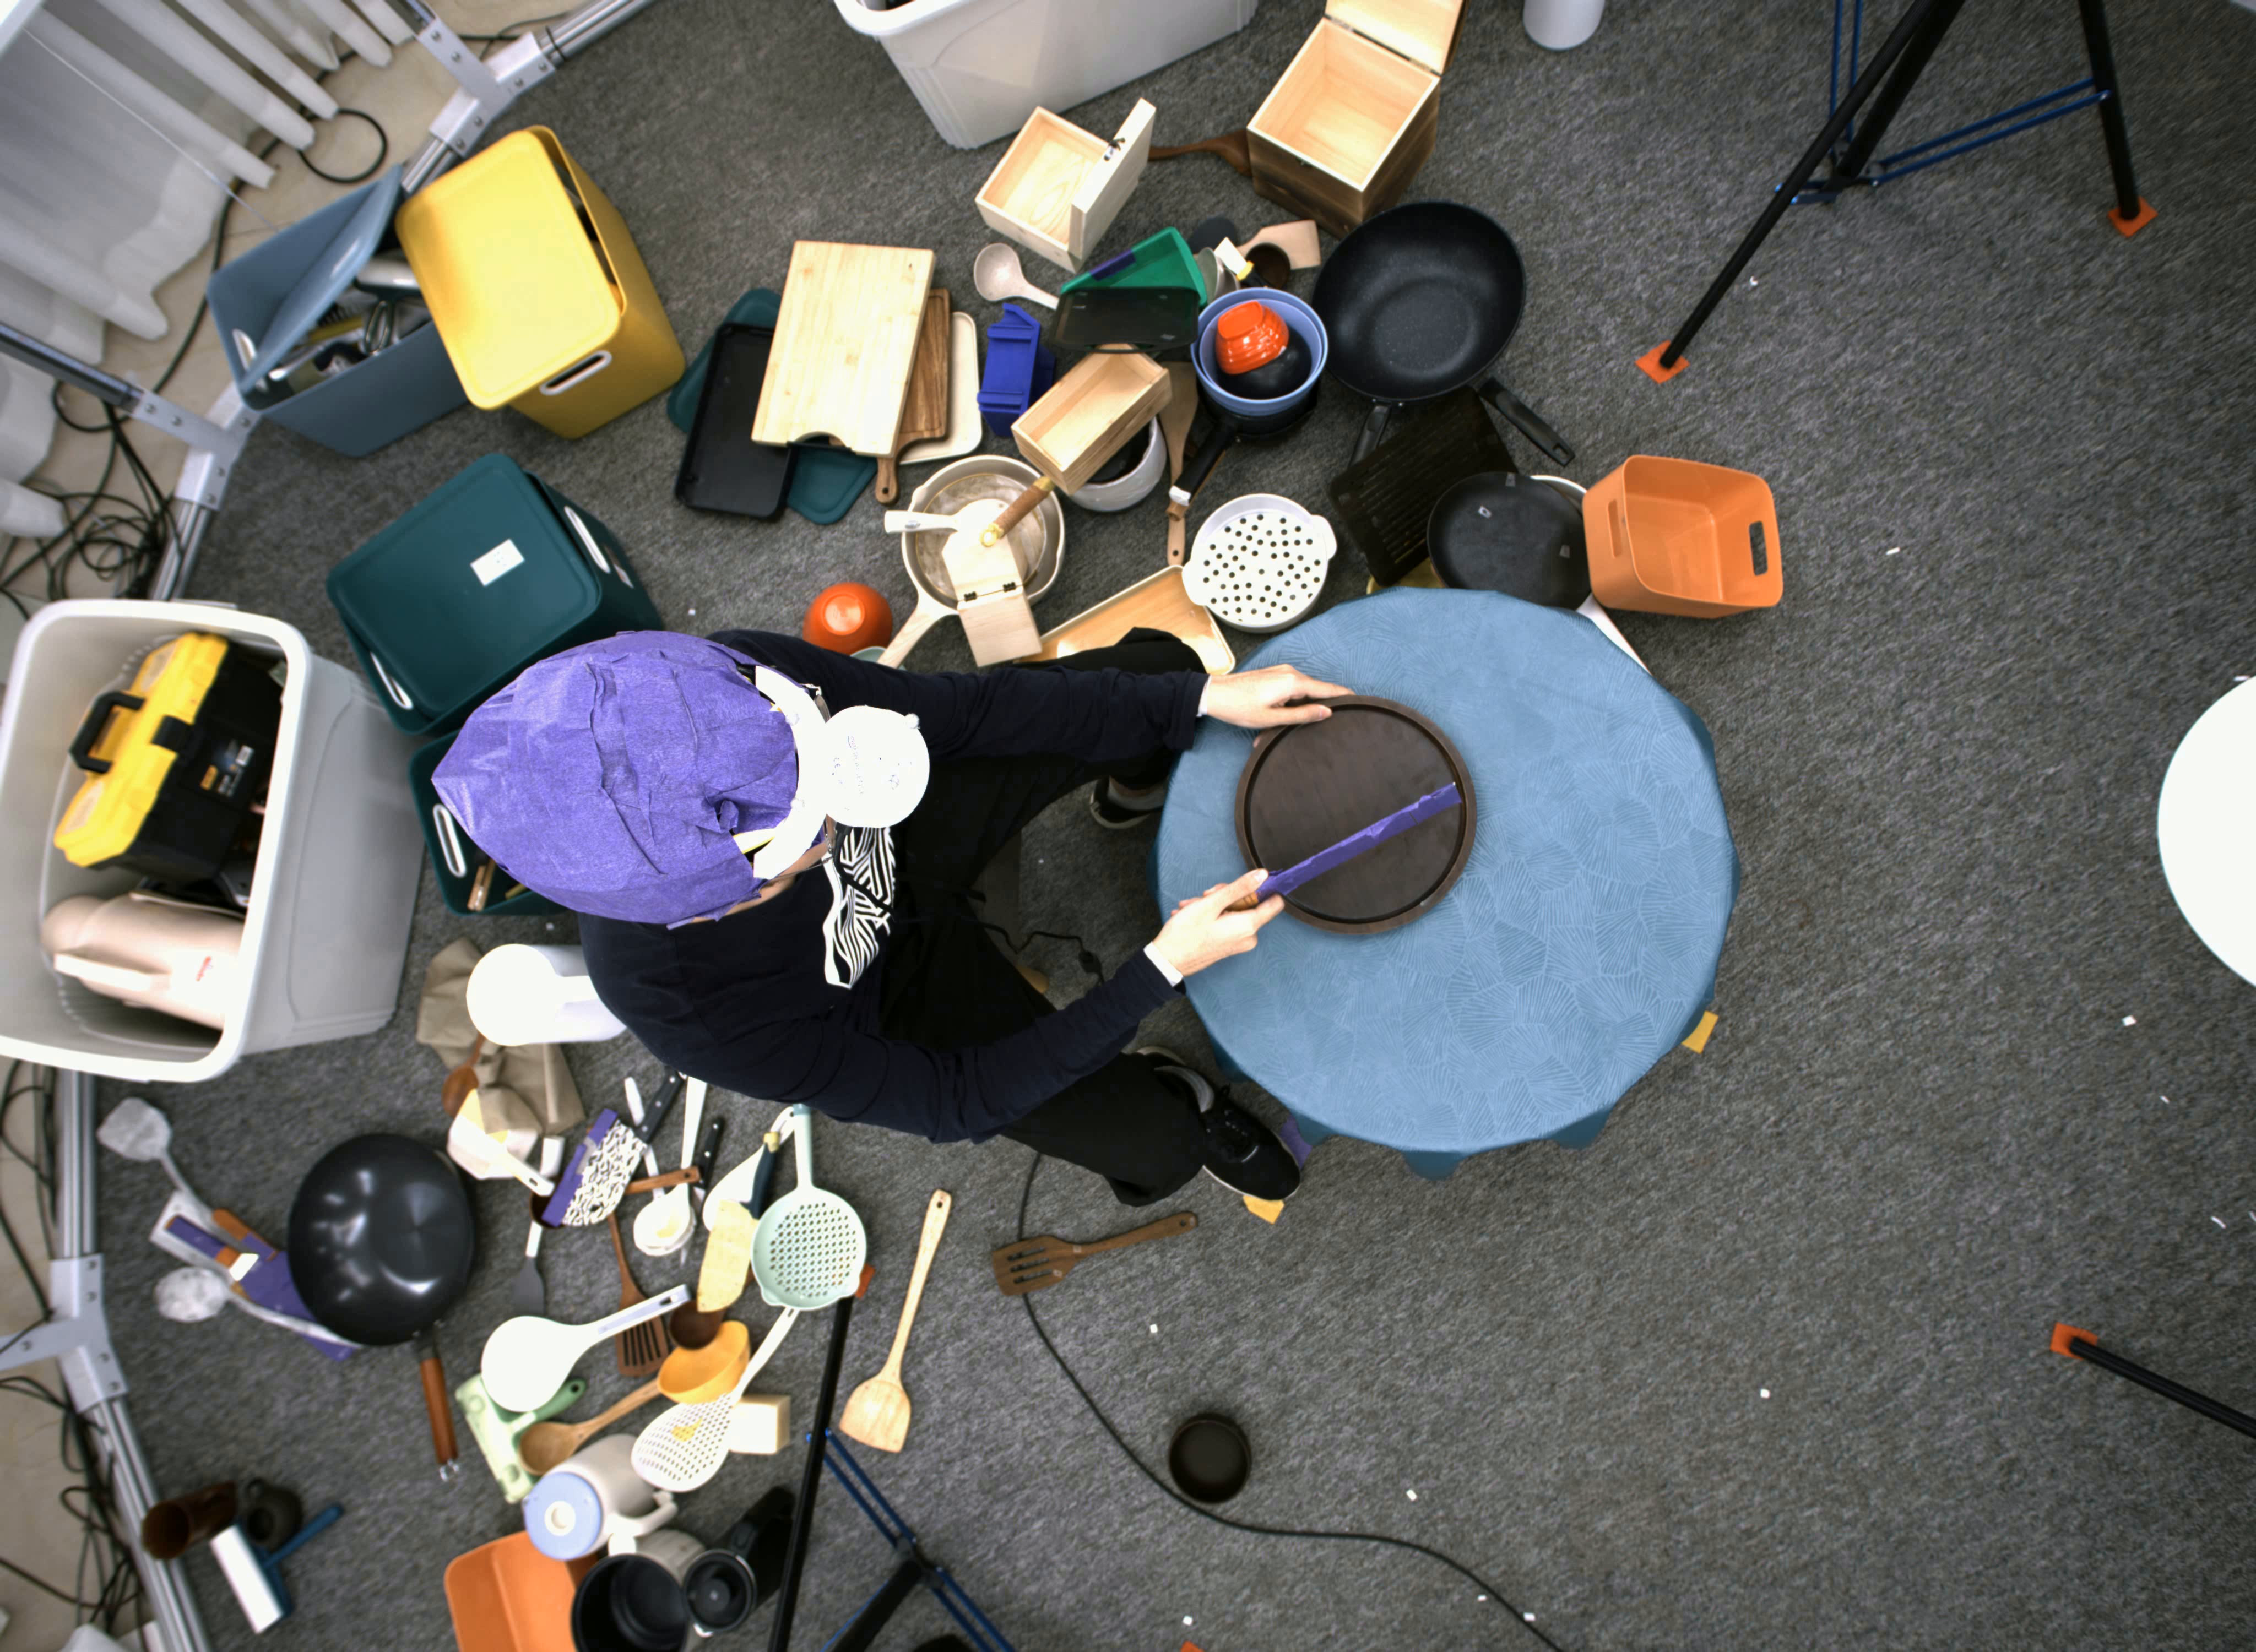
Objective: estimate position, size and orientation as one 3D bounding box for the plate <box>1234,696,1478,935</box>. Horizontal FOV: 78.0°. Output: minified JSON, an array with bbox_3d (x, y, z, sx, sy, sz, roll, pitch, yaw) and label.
[{"bbox_3d":[0.238,-0.012,1.453,0.255,0.029,0.254,0,90,8],"label":"plate"}]

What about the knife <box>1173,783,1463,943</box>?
[{"bbox_3d":[0.196,0.040,1.397,0.318,0.104,0.032,-27,74,12],"label":"knife"}]
